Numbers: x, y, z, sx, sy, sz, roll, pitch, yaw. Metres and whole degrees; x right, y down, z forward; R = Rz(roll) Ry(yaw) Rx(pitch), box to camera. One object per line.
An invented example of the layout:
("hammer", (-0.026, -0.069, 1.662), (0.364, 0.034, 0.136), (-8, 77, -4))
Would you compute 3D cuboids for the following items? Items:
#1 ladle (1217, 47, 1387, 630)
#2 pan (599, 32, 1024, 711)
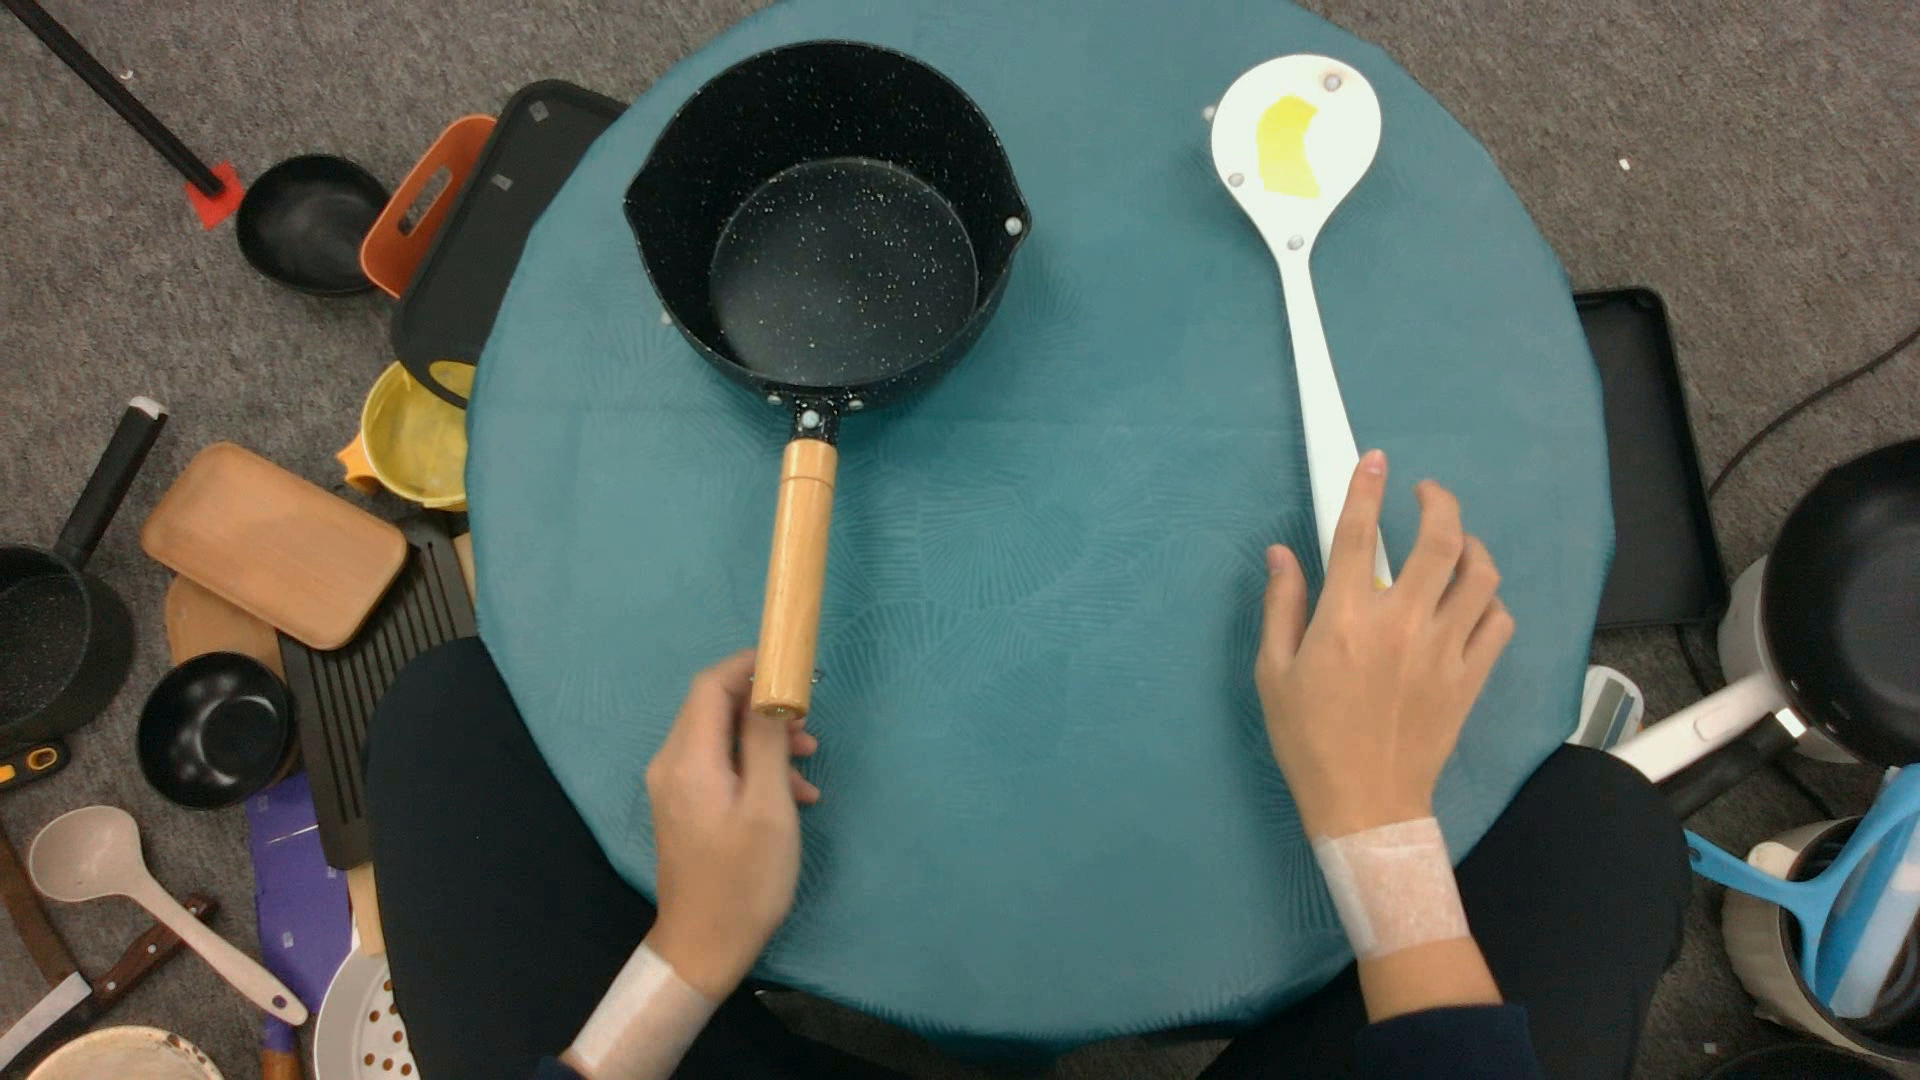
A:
("ladle", (0.187, -0.104, 0.705), (0.090, 0.070, 0.293), (-3, 76, -12))
("pan", (-0.075, -0.081, 0.678), (0.207, 0.108, 0.343), (2, 74, 0))
